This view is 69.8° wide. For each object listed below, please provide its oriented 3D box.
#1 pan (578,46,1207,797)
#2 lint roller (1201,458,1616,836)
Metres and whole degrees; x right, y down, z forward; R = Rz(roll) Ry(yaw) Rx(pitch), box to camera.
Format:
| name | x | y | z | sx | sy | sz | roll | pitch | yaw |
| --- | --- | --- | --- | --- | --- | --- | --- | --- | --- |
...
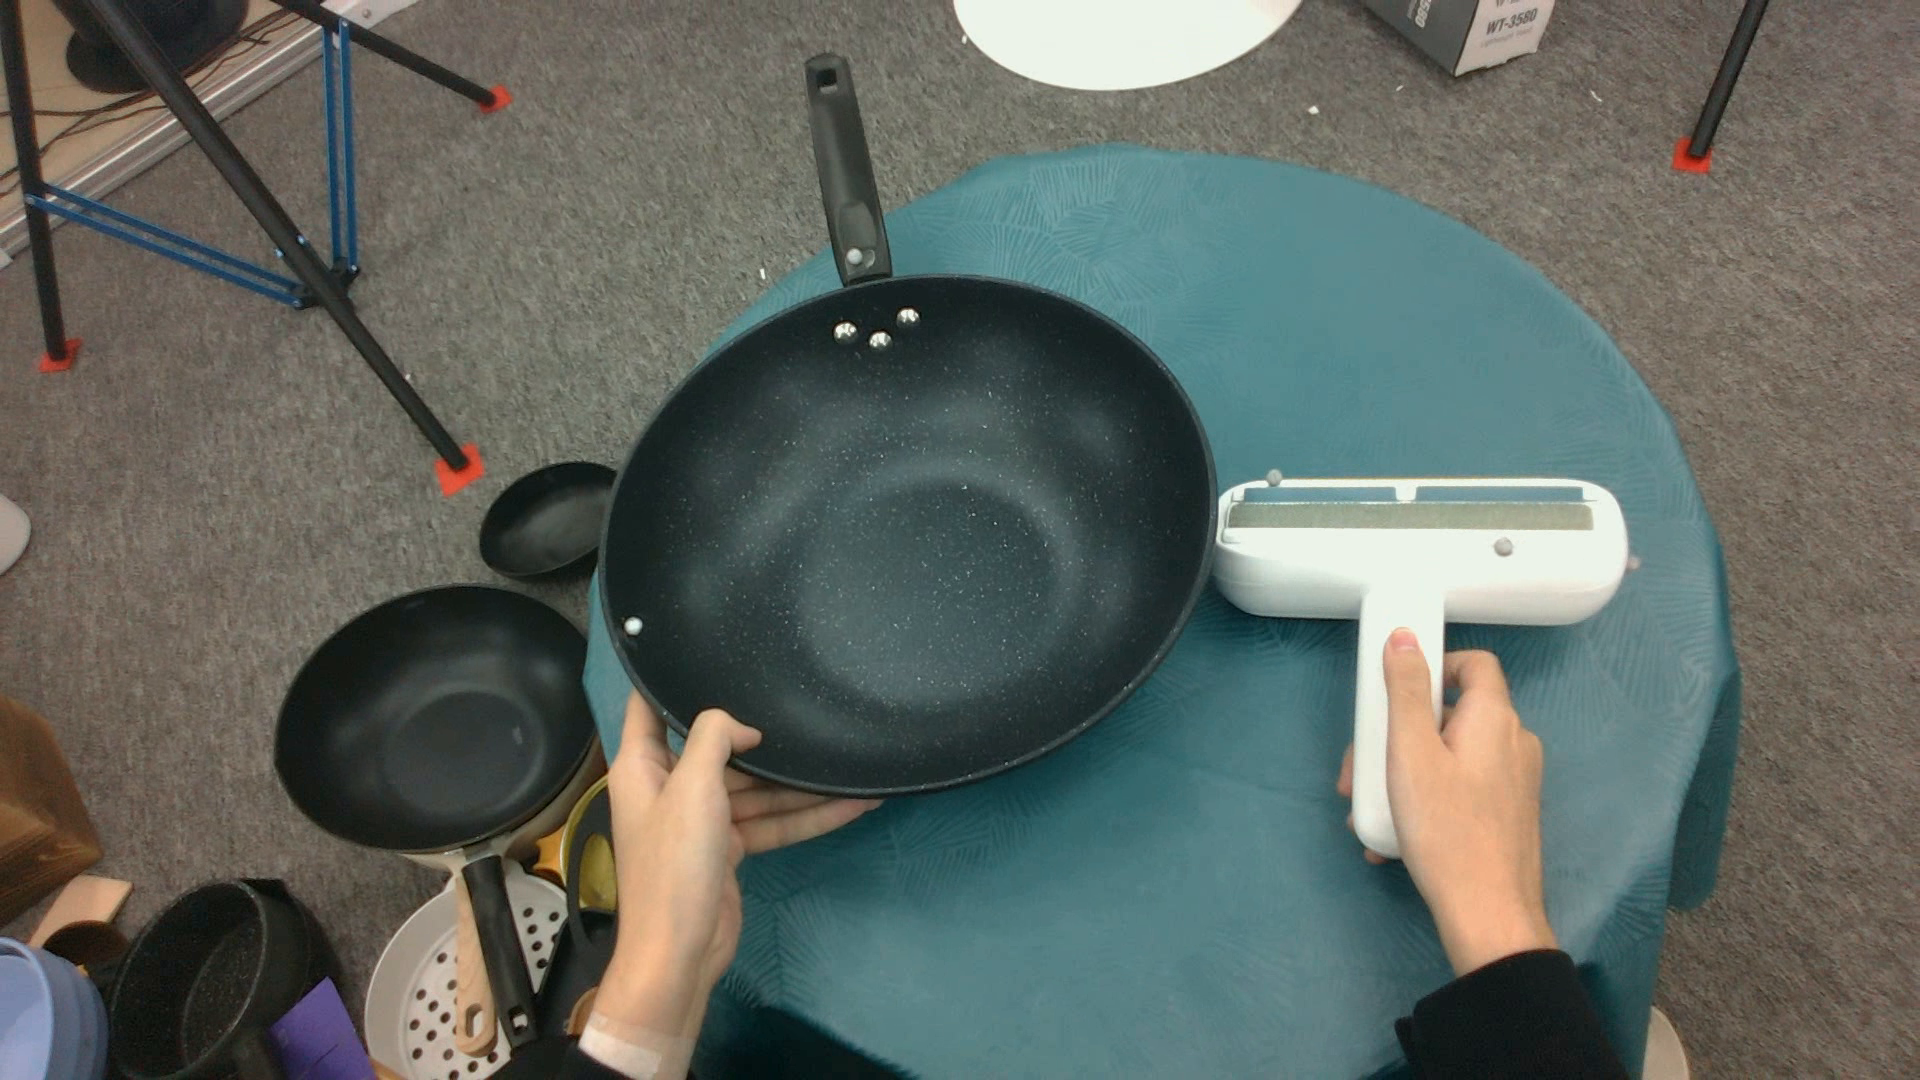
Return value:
| name | x | y | z | sx | sy | sz | roll | pitch | yaw |
| --- | --- | --- | --- | --- | --- | --- | --- | --- | --- |
| pan | -0.047 | -0.074 | 0.745 | 0.310 | 0.111 | 0.478 | -12 | 57 | -1 |
| lint roller | 0.200 | 0.043 | 0.647 | 0.192 | 0.074 | 0.193 | 6 | 51 | 19 |
